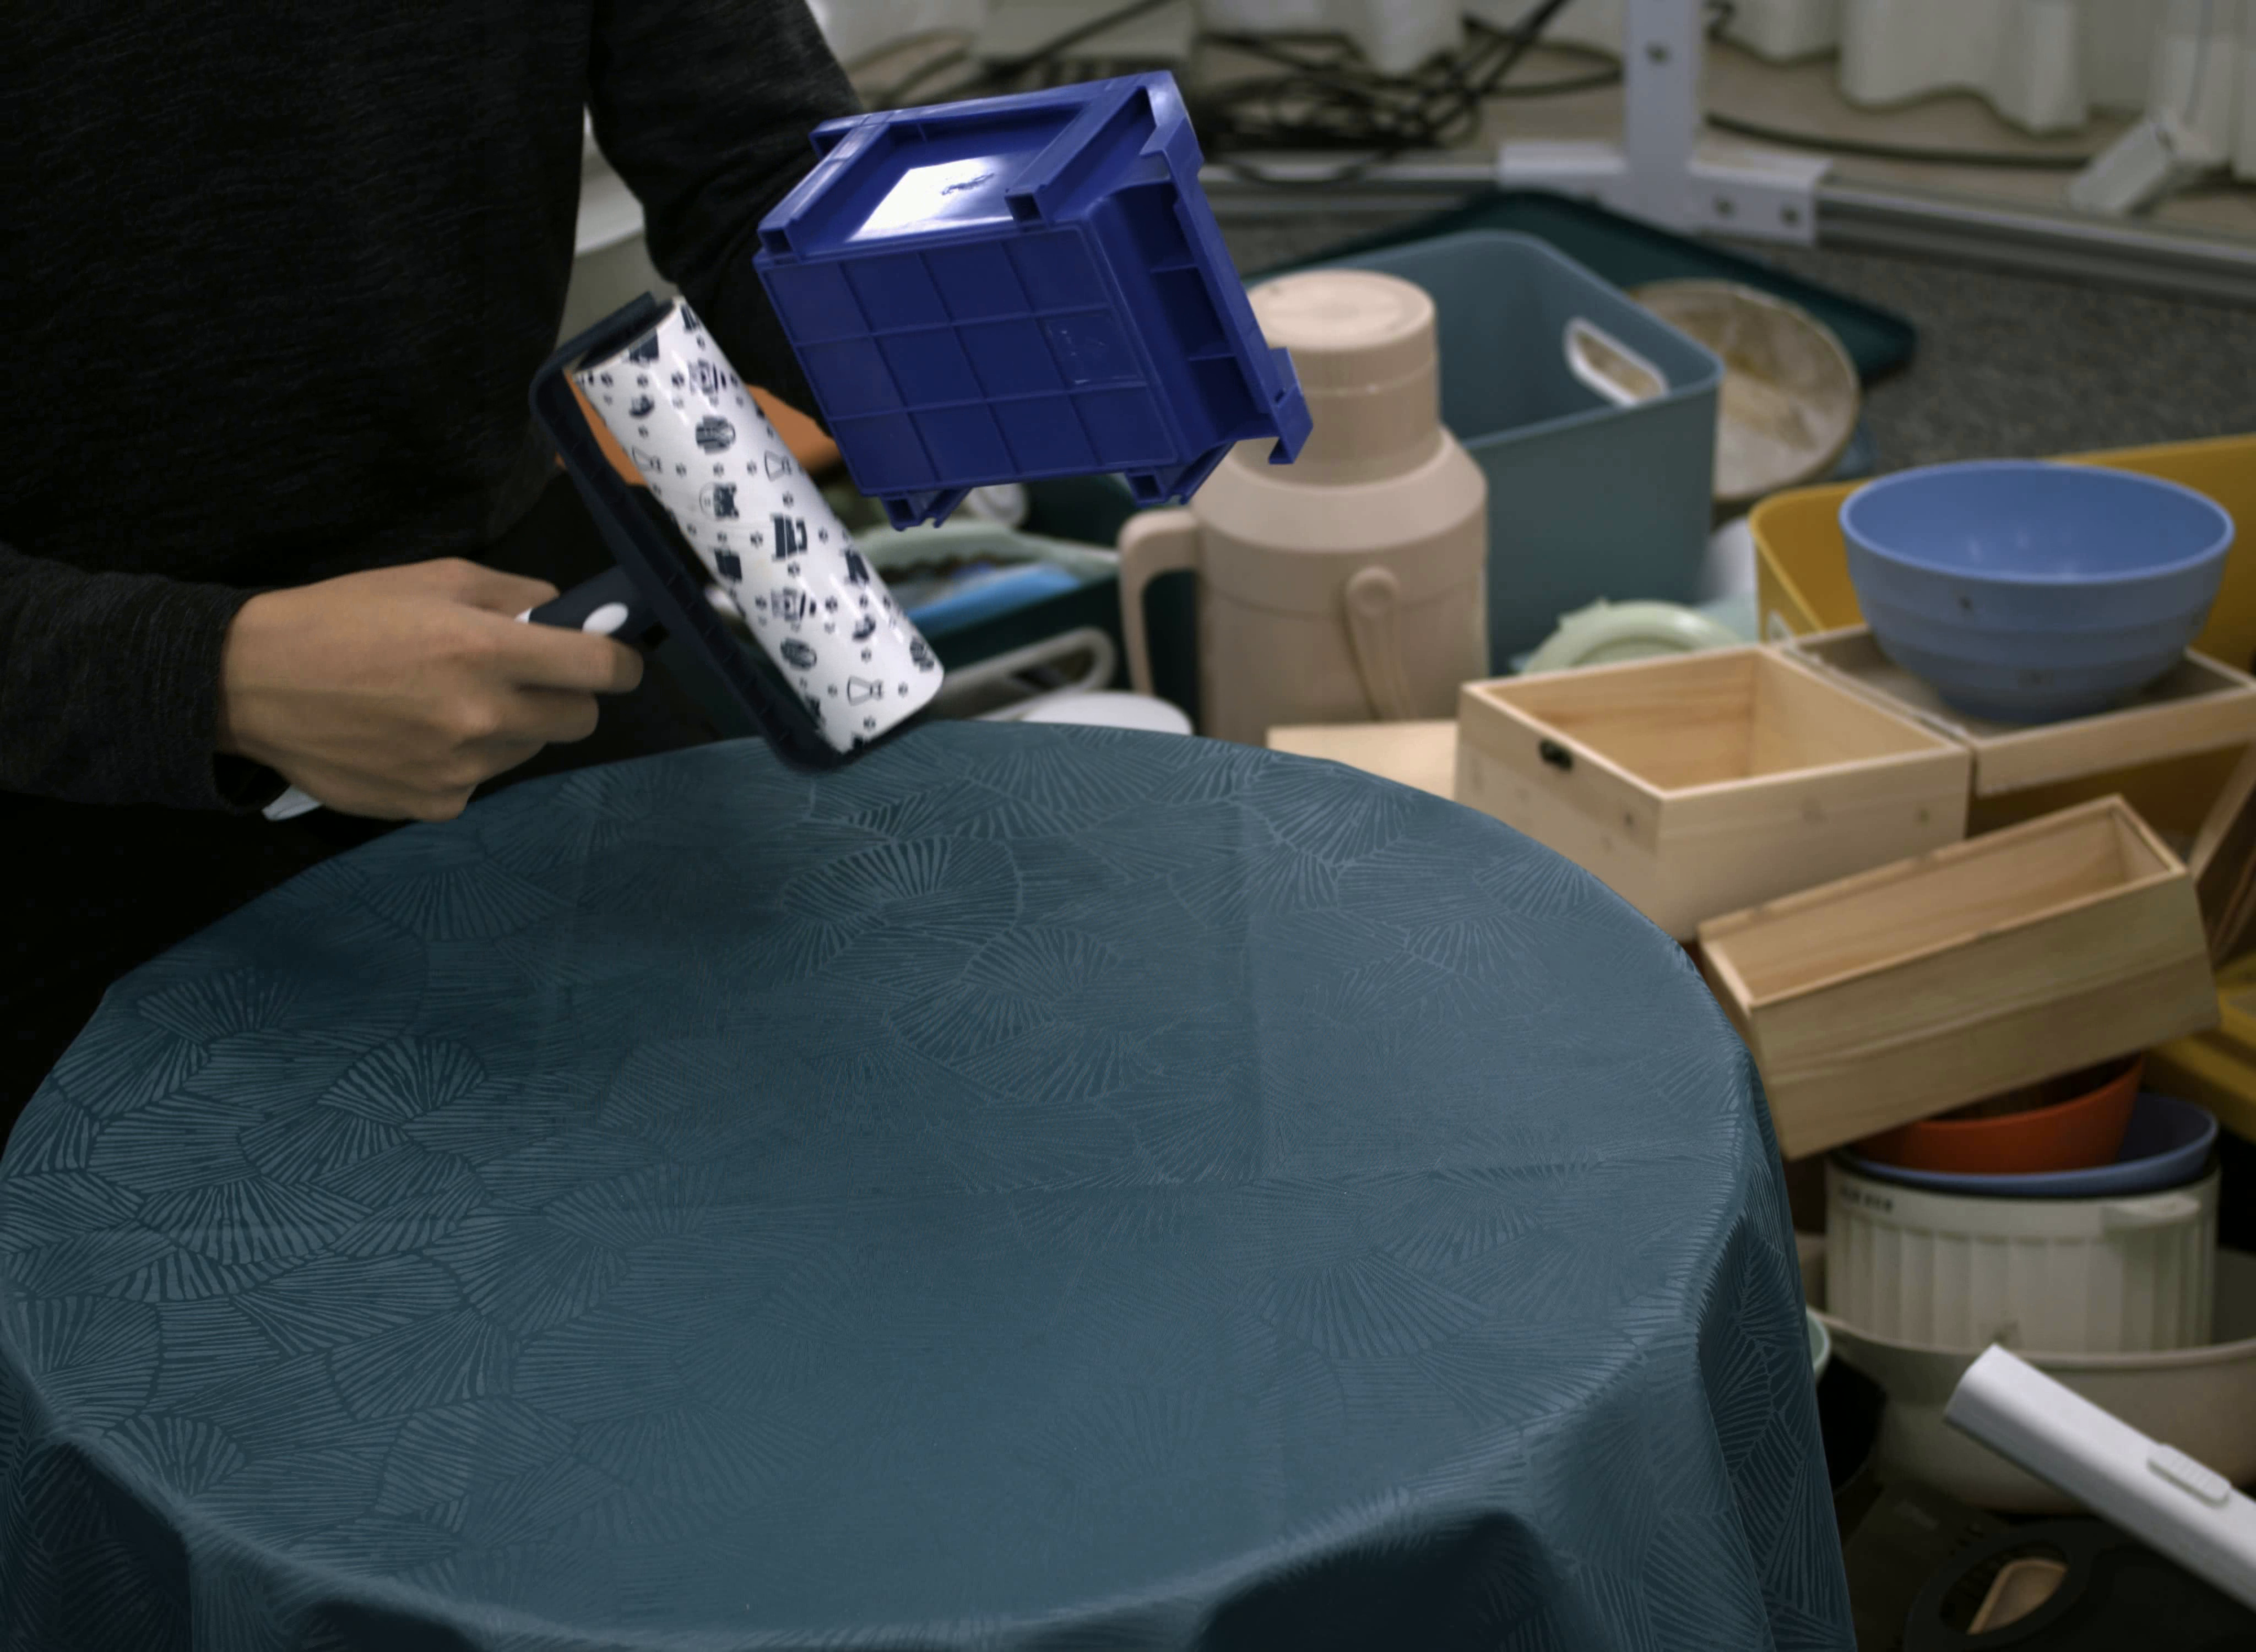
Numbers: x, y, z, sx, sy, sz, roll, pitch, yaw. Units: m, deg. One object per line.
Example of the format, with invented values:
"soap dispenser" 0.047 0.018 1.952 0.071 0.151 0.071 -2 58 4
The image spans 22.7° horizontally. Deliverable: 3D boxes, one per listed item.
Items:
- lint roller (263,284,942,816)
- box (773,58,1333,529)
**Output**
"lint roller" -0.206 -0.060 1.961 0.244 0.175 0.051 -30 16 20
"box" -0.022 -0.178 1.900 0.177 0.123 0.083 -6 29 34
